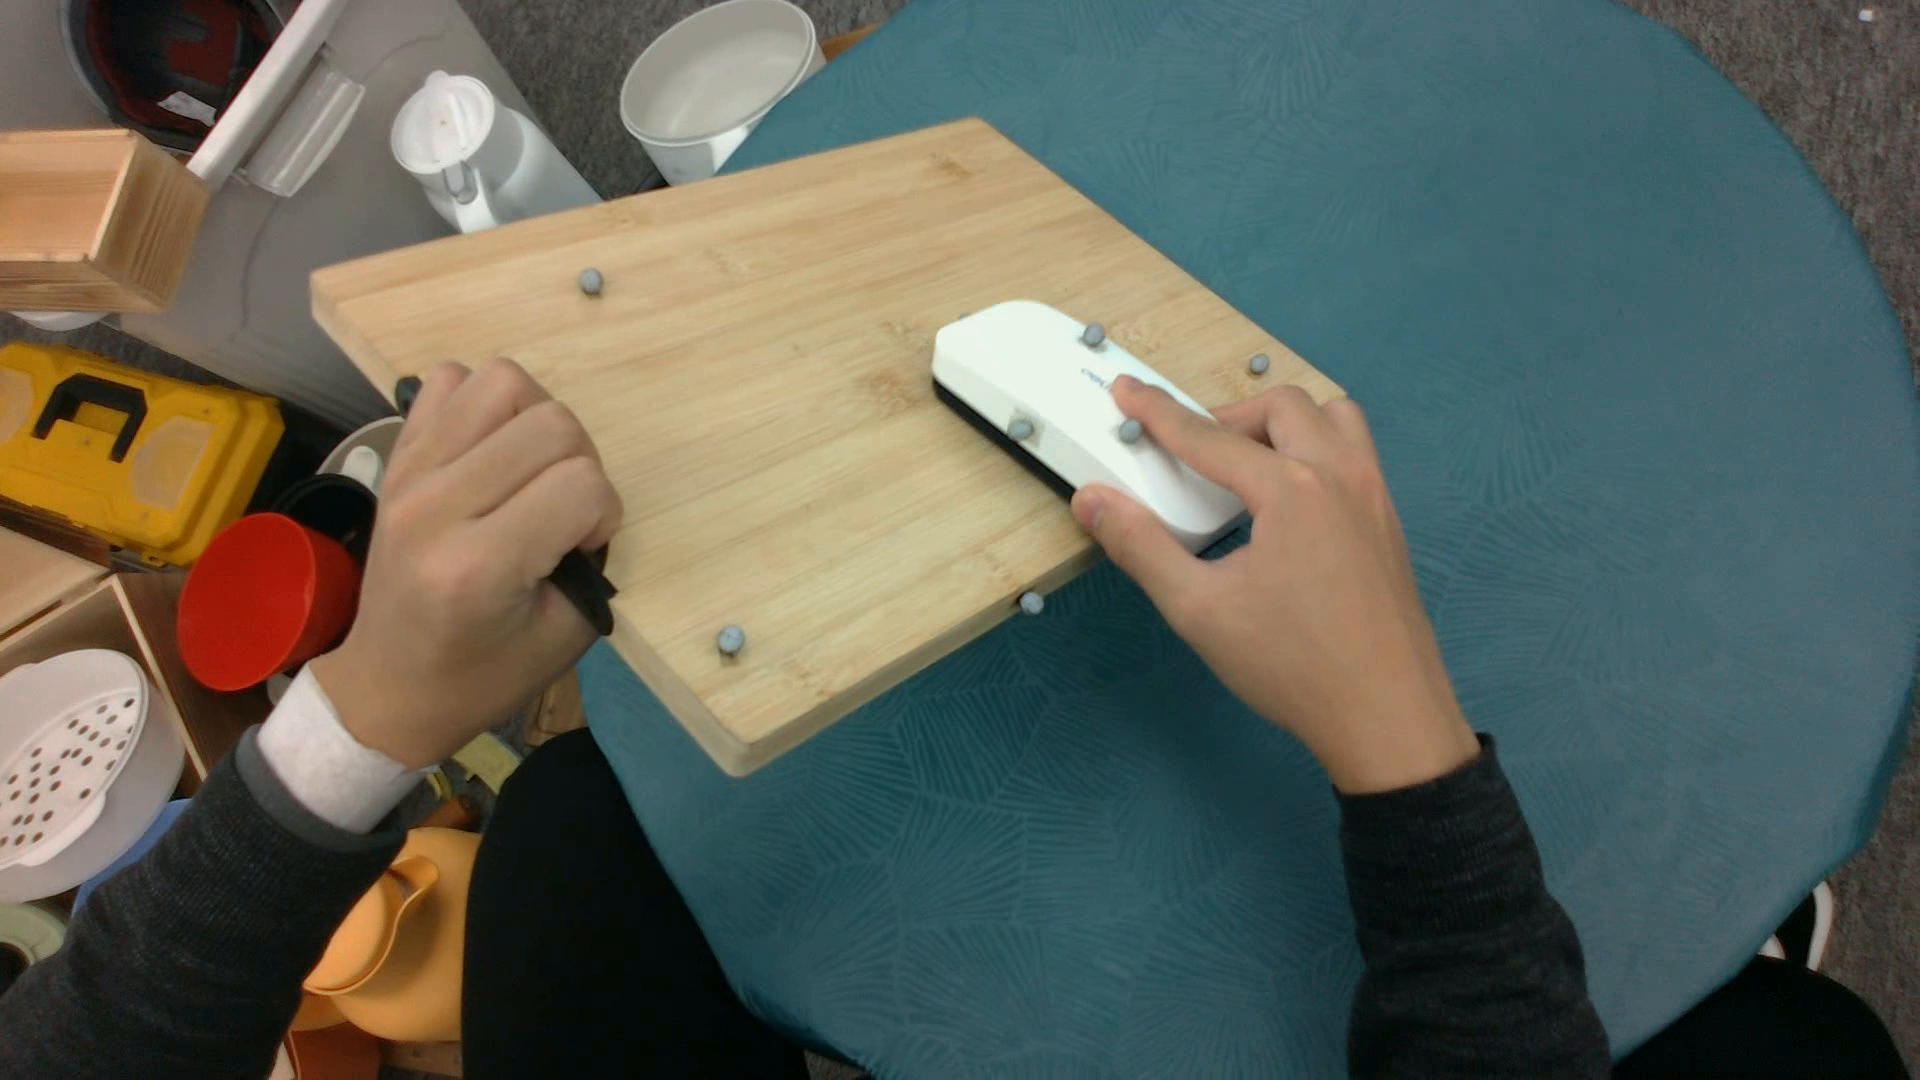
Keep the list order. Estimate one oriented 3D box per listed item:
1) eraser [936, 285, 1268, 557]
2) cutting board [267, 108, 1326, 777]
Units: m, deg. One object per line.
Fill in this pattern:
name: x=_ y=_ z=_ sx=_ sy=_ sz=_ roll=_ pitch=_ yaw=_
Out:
eraser: x=0.050 y=-0.049 z=0.513 sx=0.131 sy=0.034 sz=0.063 roll=42 pitch=46 yaw=23
cutting board: x=-0.038 y=-0.074 z=0.541 sx=0.251 sy=0.023 sz=0.350 roll=41 pitch=45 yaw=21
